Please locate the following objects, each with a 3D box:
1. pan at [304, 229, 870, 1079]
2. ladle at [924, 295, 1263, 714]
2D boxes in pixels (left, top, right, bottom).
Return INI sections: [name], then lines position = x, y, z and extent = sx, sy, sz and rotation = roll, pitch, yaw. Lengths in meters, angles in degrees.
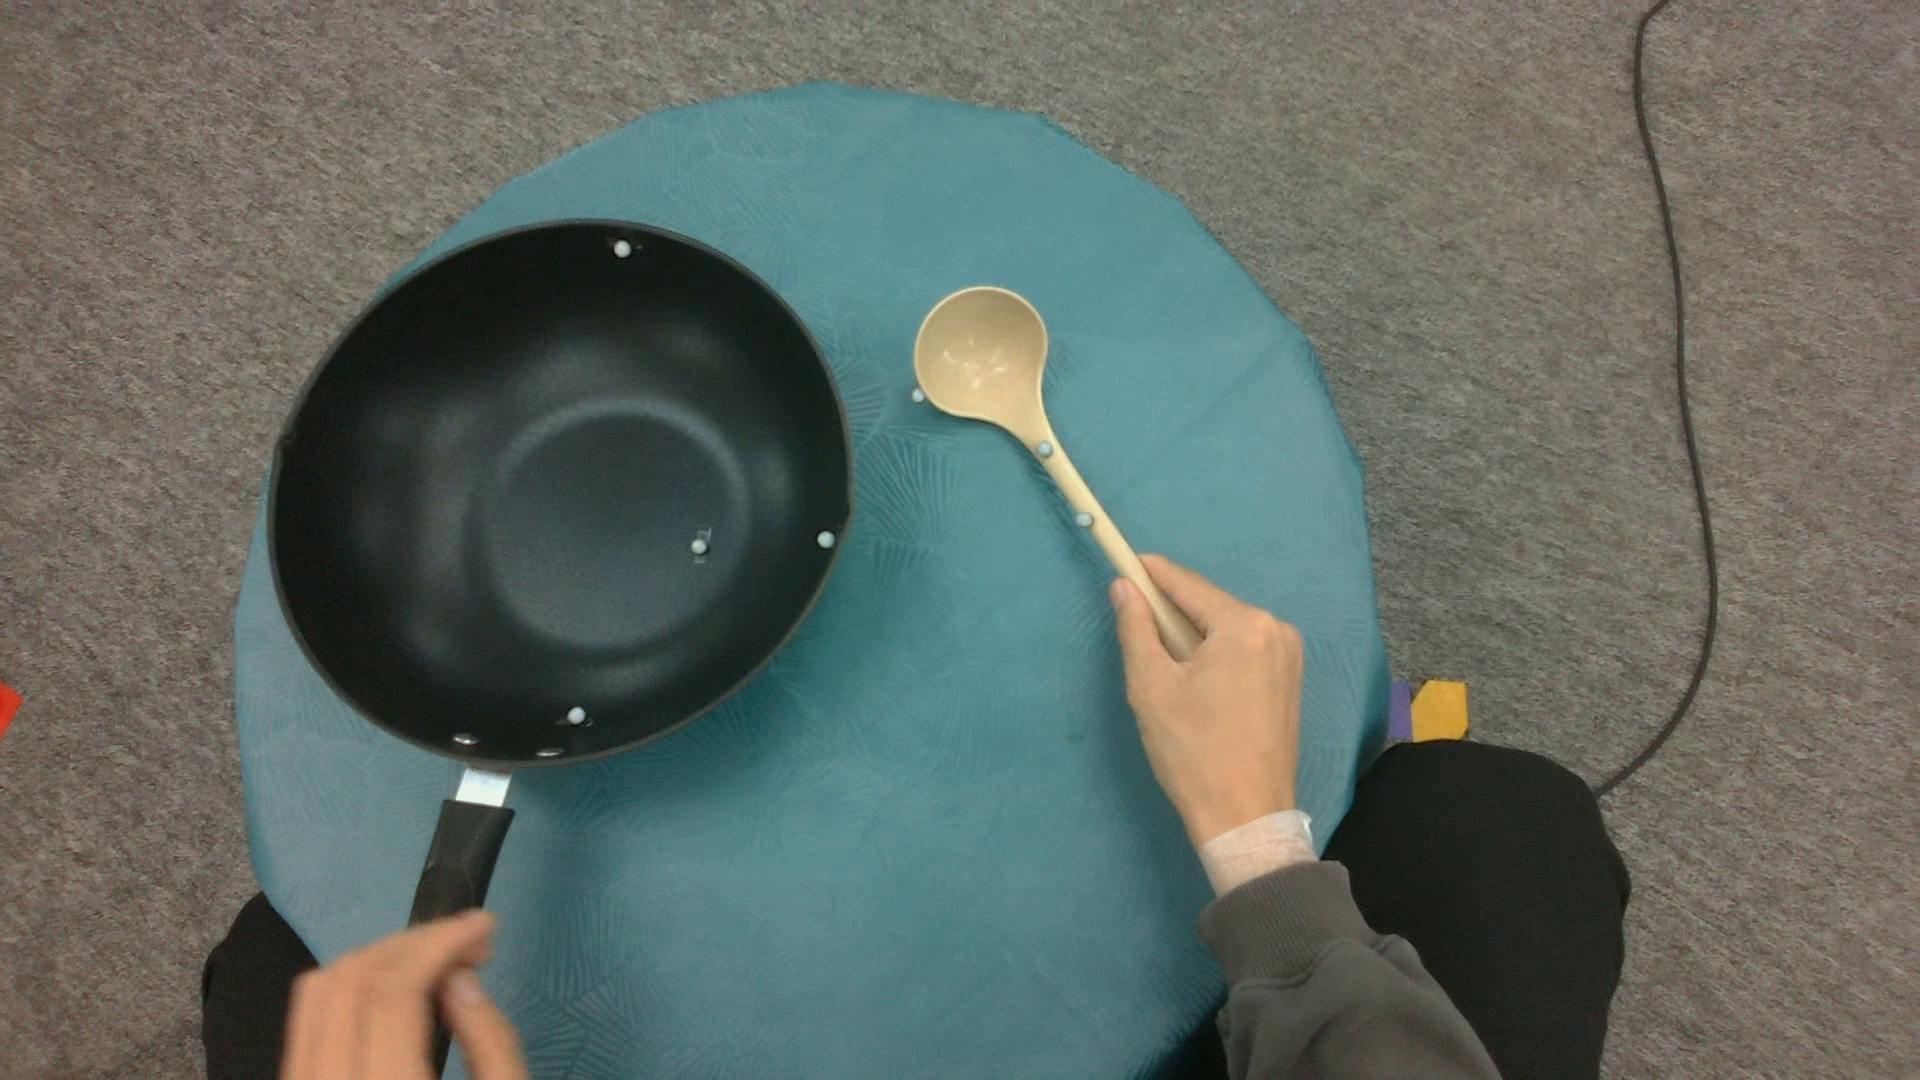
[pan]
position = -0.198, 0.070, 0.687
extent = 0.288, 0.086, 0.464
rotation = 8, 74, 7
[ladle]
position = 0.066, -0.023, 0.686
extent = 0.072, 0.072, 0.255
rotation = -36, 63, 1
